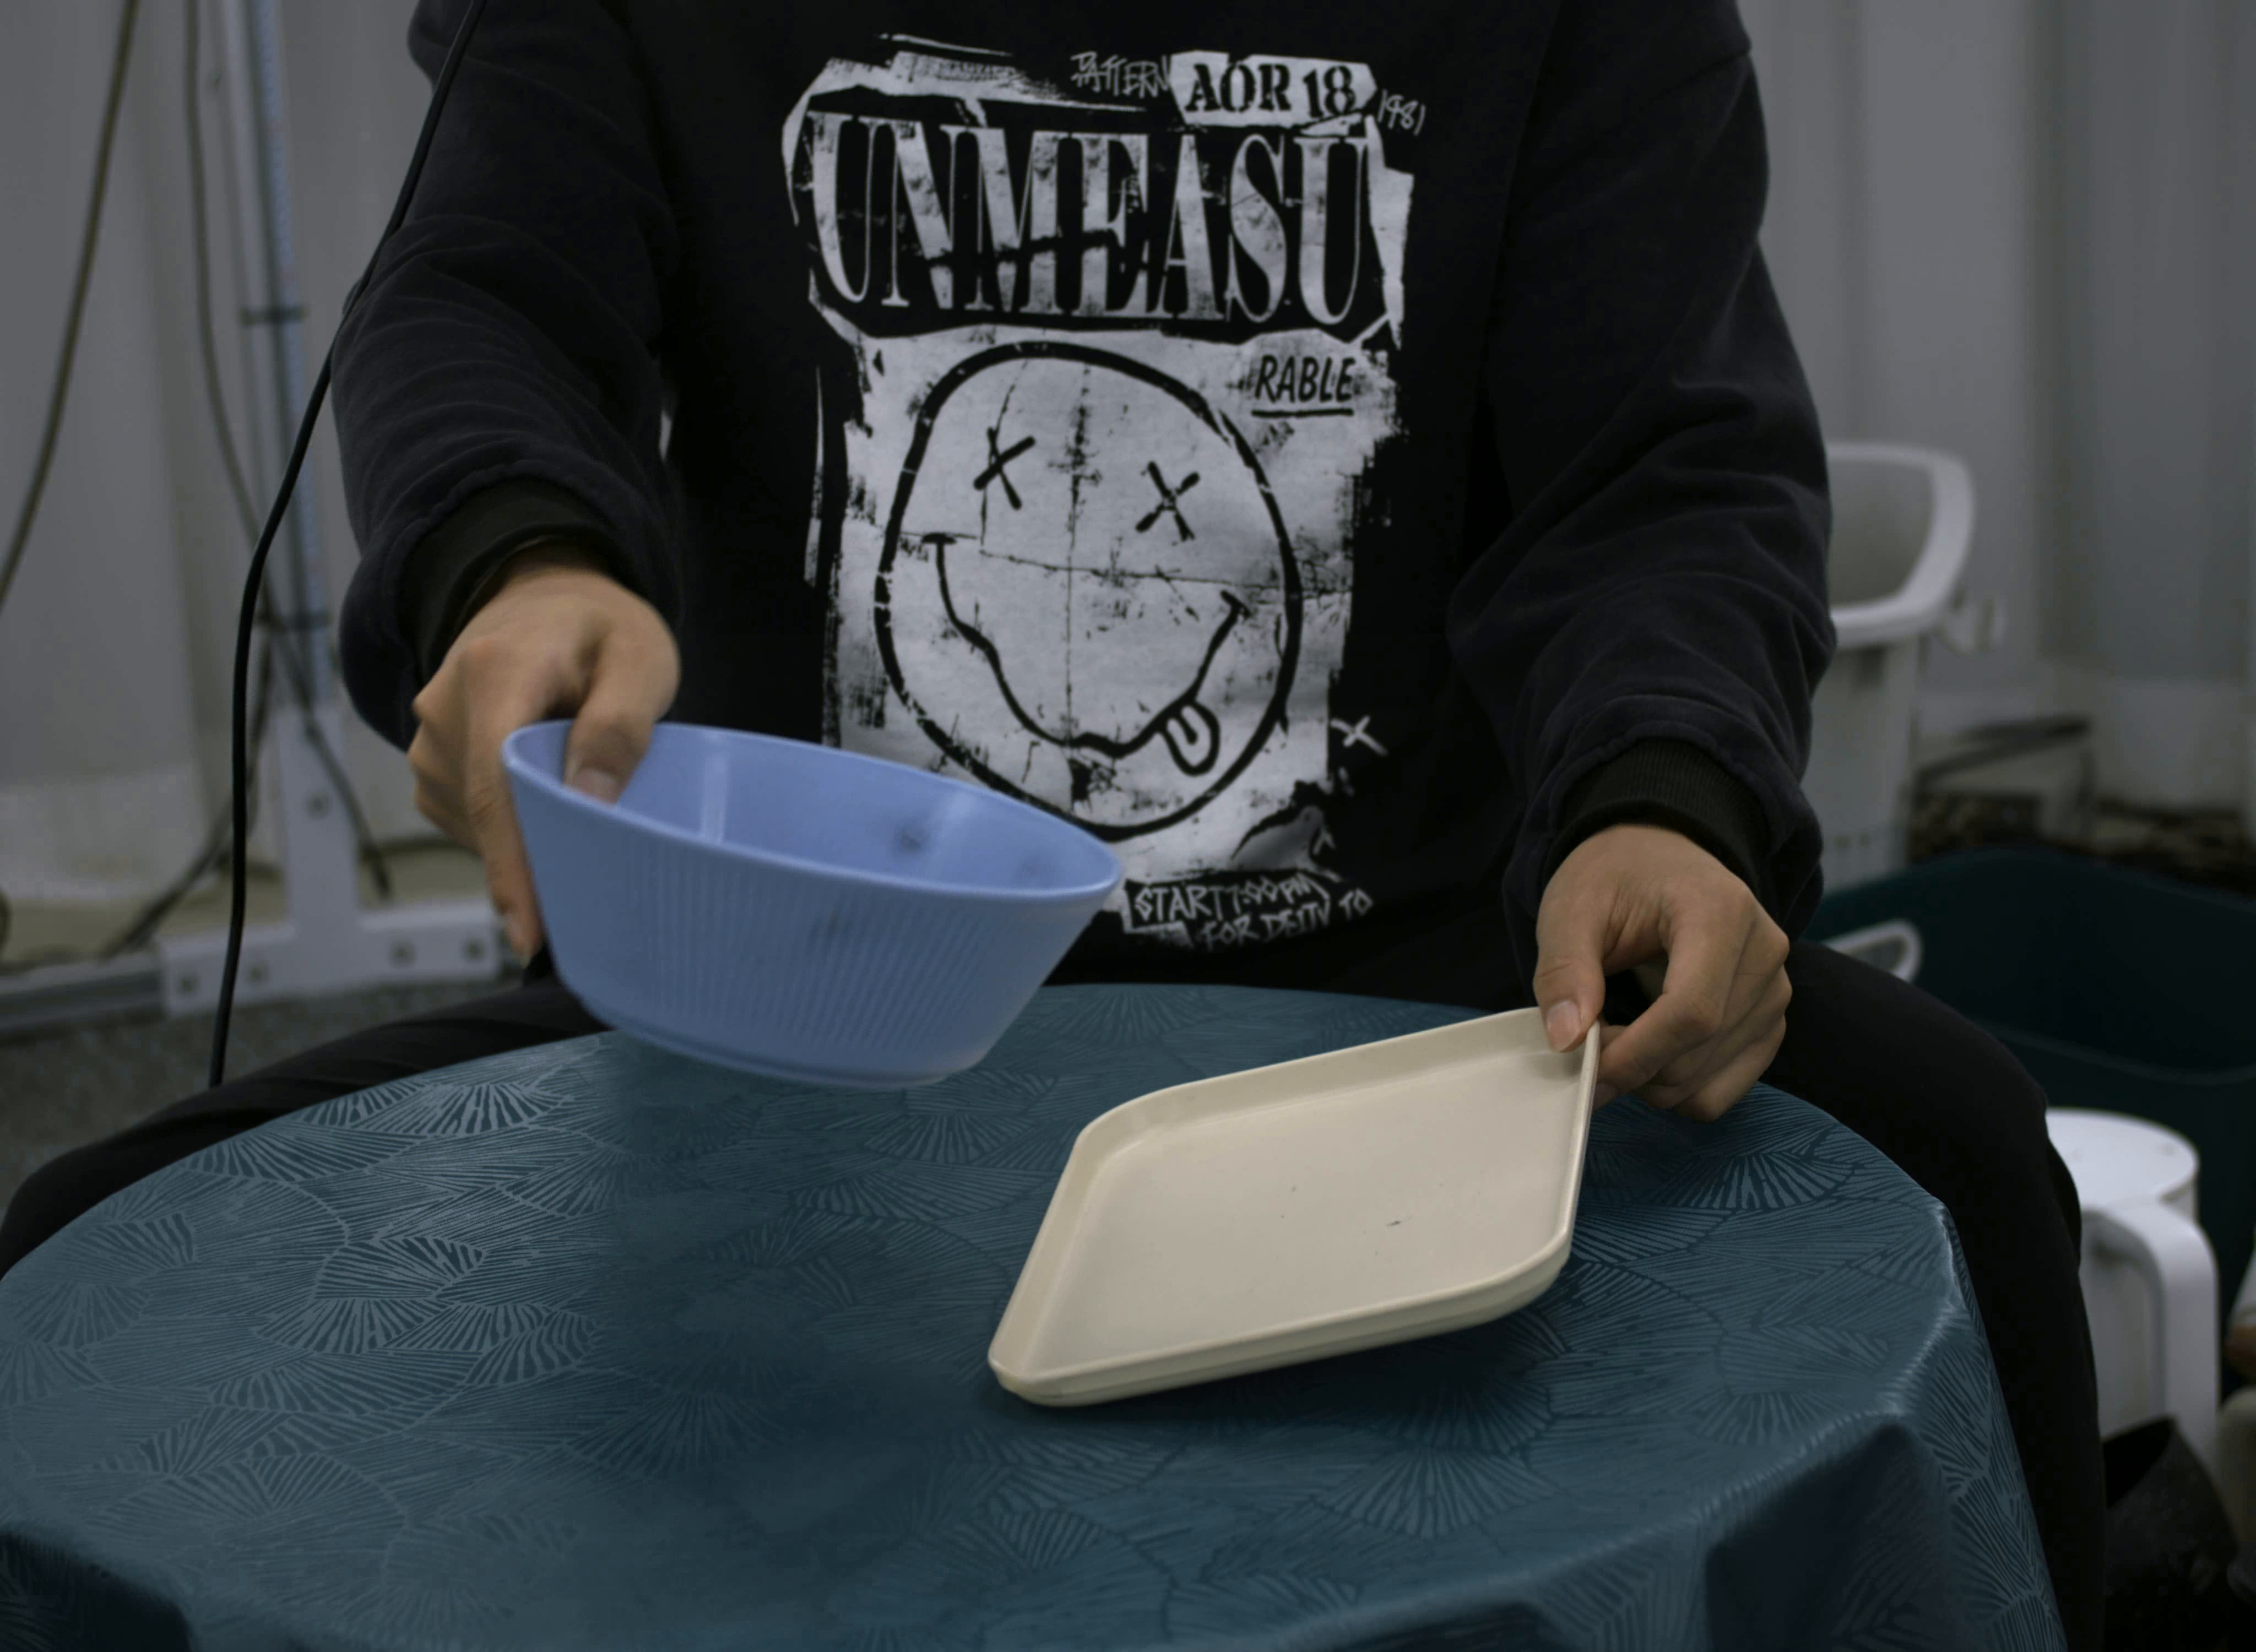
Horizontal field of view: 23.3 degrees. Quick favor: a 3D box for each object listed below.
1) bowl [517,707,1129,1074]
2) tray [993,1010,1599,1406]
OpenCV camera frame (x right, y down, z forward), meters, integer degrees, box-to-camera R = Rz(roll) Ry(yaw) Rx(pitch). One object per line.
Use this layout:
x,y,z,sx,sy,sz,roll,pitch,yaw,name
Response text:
-0.092,0.021,1.530,0.175,0.070,0.177,14,9,-2,bowl
0.055,0.112,1.617,0.171,0.017,0.241,-12,15,11,tray
